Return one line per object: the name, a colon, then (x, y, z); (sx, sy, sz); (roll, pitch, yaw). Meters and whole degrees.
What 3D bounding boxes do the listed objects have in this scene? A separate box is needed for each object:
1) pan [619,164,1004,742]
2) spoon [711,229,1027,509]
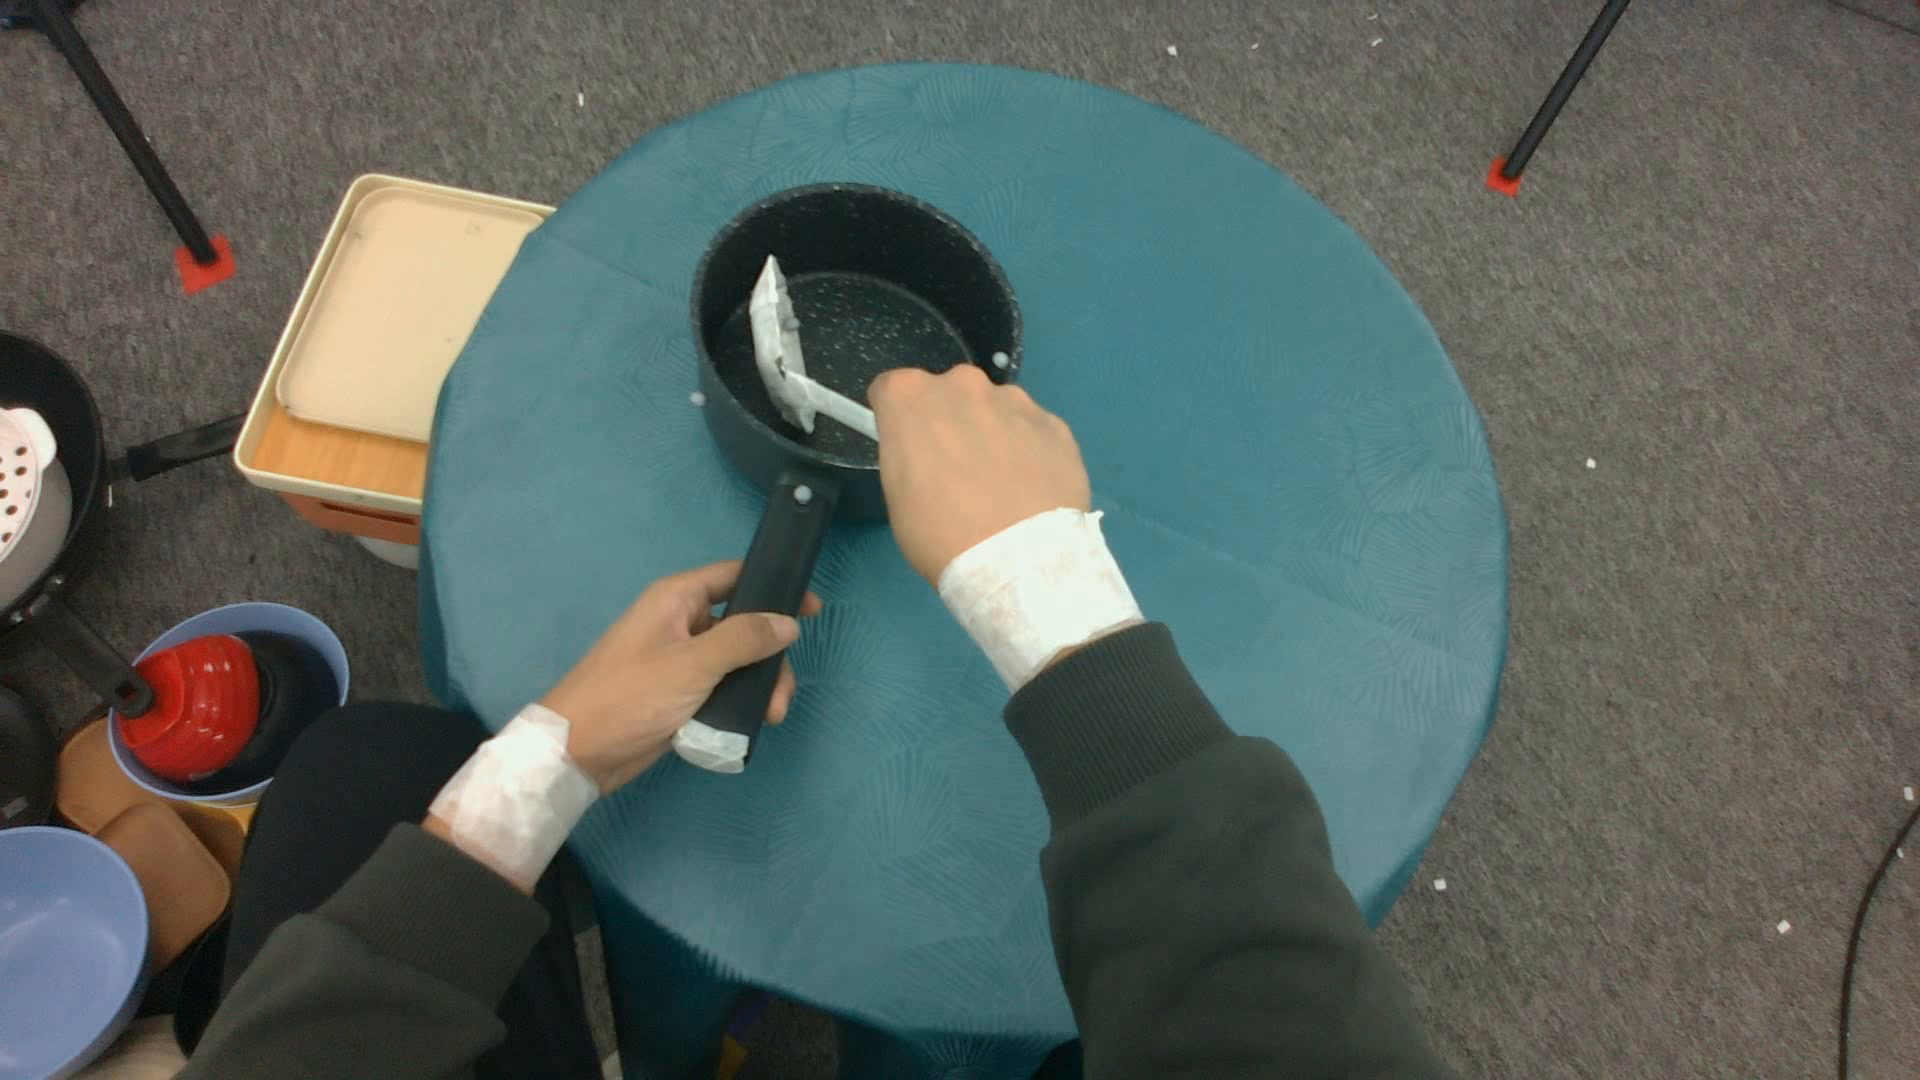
pan: (-0.089, -0.042, 0.696); (0.172, 0.086, 0.330); (19, 62, -2)
spoon: (-0.044, -0.082, 0.640); (0.059, 0.100, 0.277); (-40, 40, -20)
